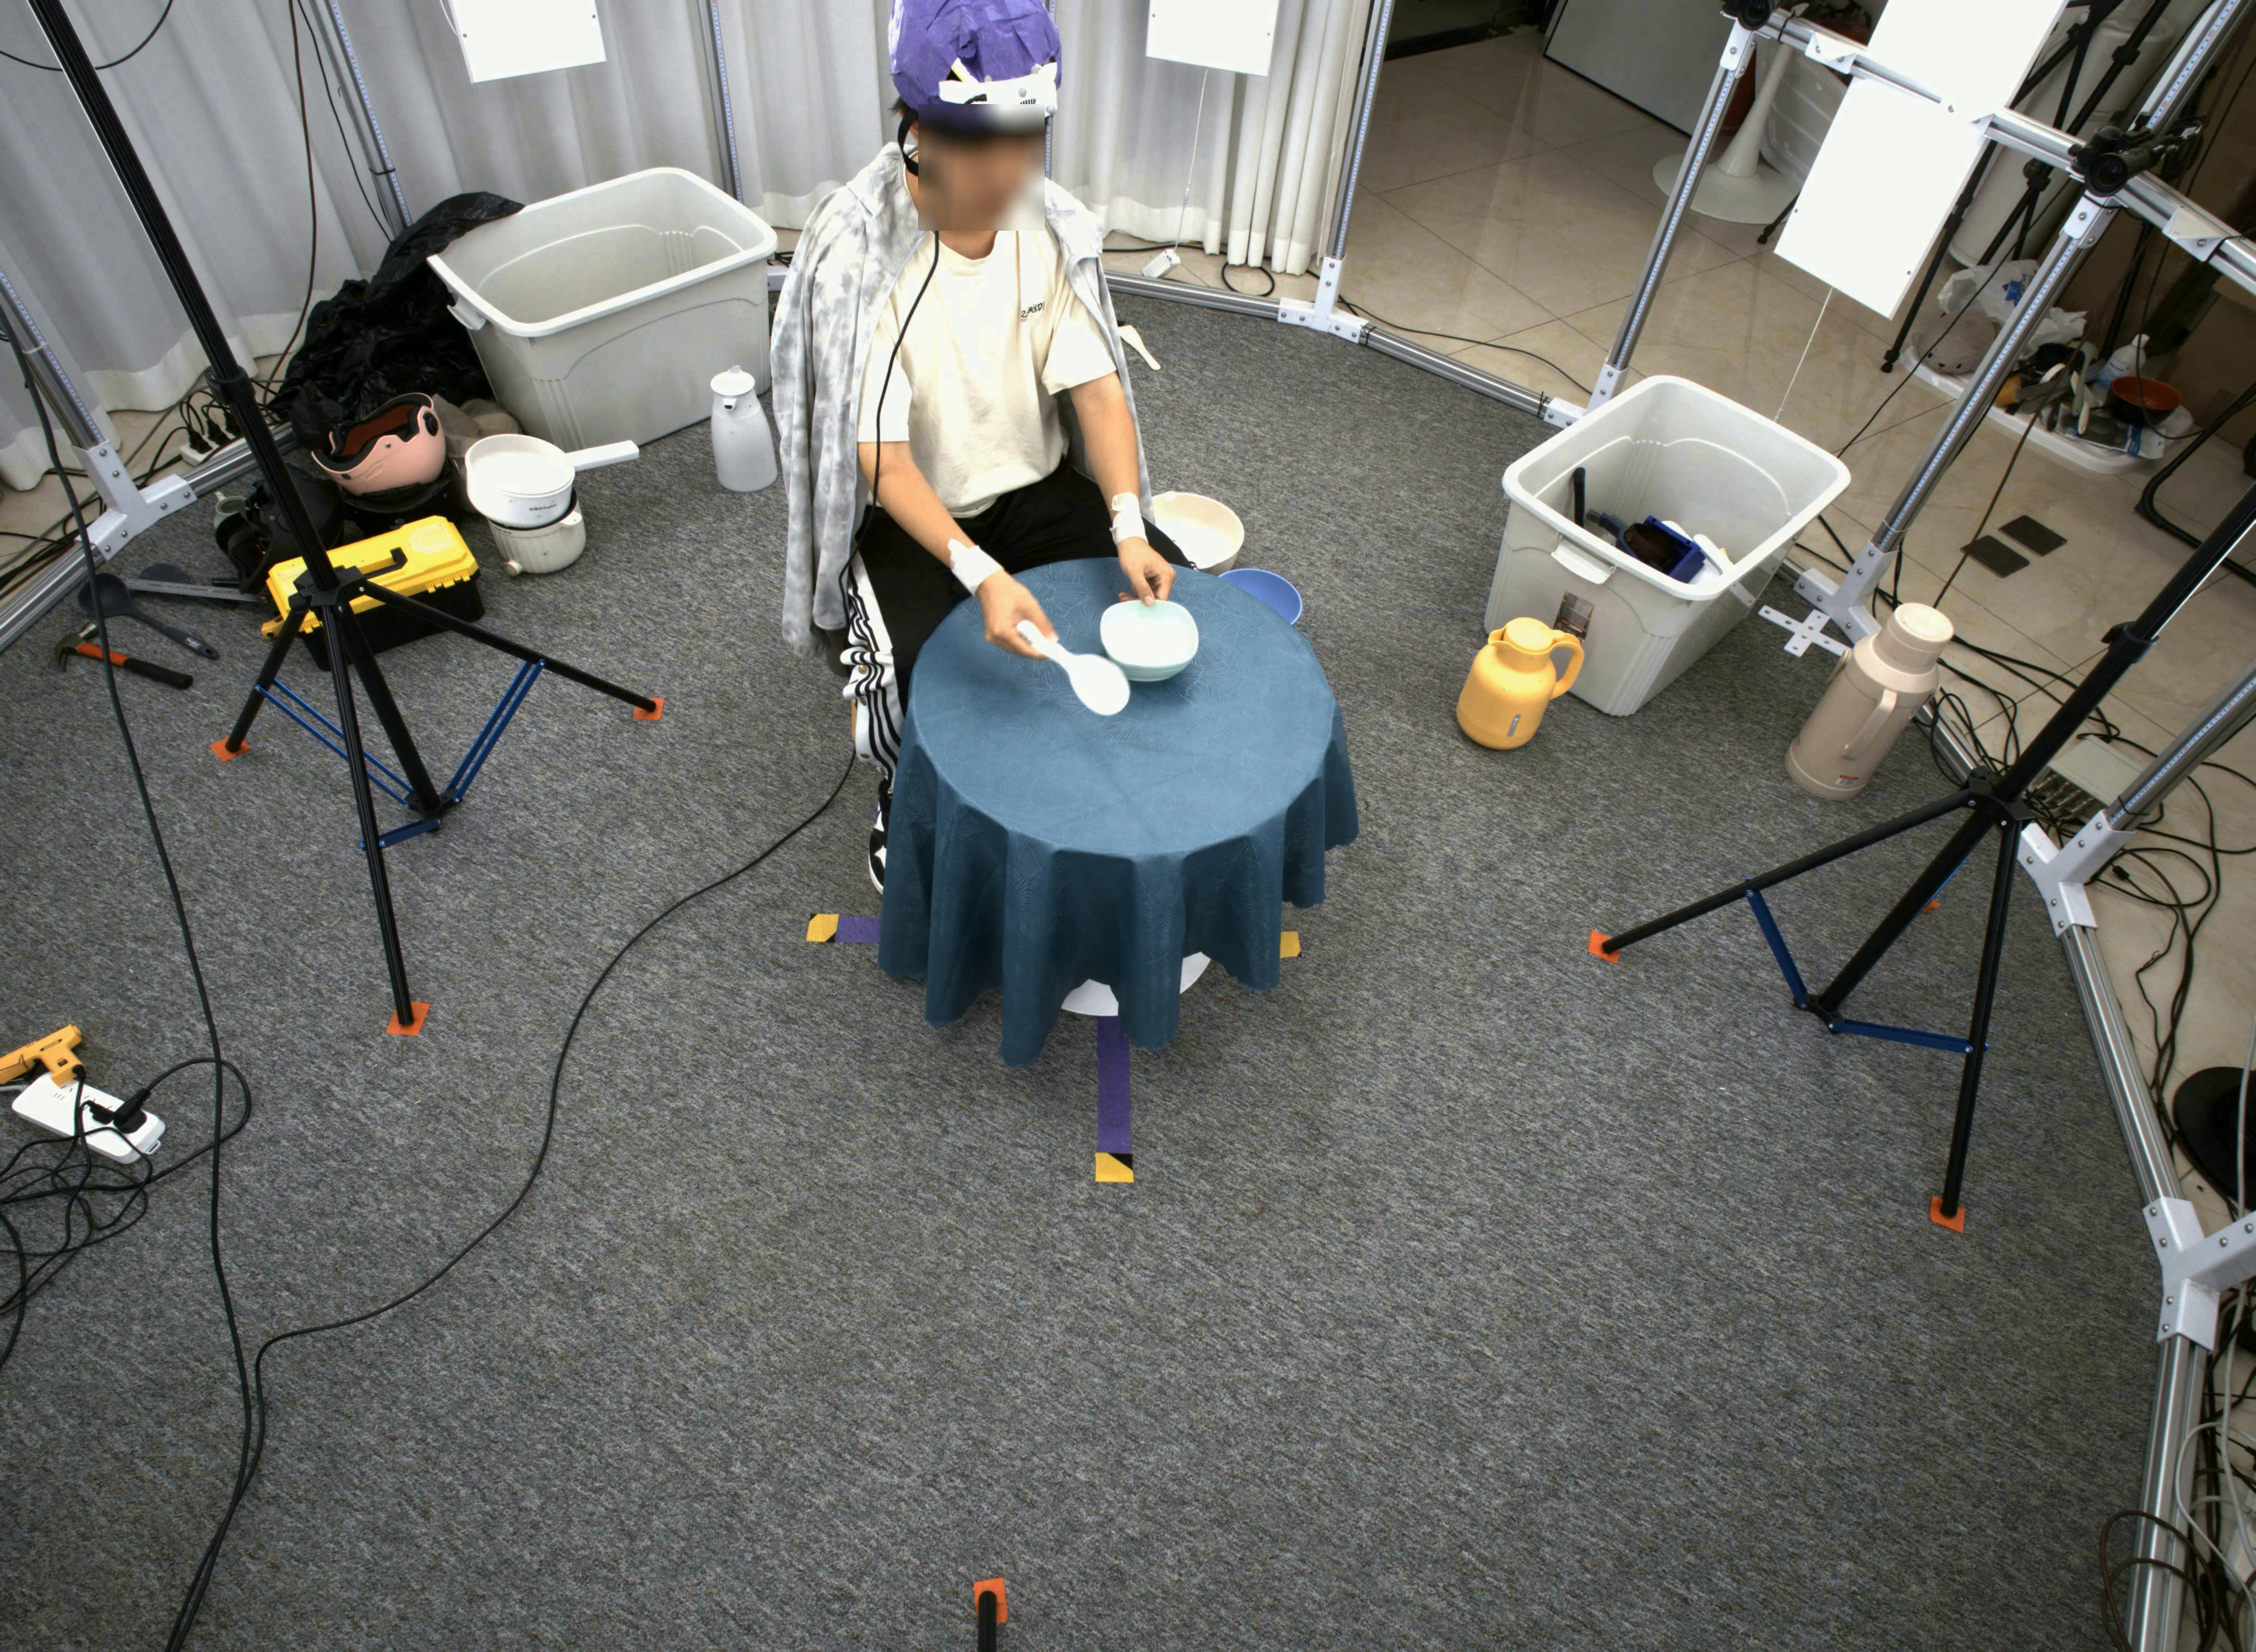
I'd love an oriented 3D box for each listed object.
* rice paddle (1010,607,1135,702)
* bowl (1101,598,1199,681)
[{"bbox_3d":[-0.074,-0.235,1.742,0.207,0.067,0.029,34,31,20],"label":"rice paddle"},{"bbox_3d":[0.030,-0.260,1.852,0.151,0.057,0.155,2,52,-3],"label":"bowl"}]
